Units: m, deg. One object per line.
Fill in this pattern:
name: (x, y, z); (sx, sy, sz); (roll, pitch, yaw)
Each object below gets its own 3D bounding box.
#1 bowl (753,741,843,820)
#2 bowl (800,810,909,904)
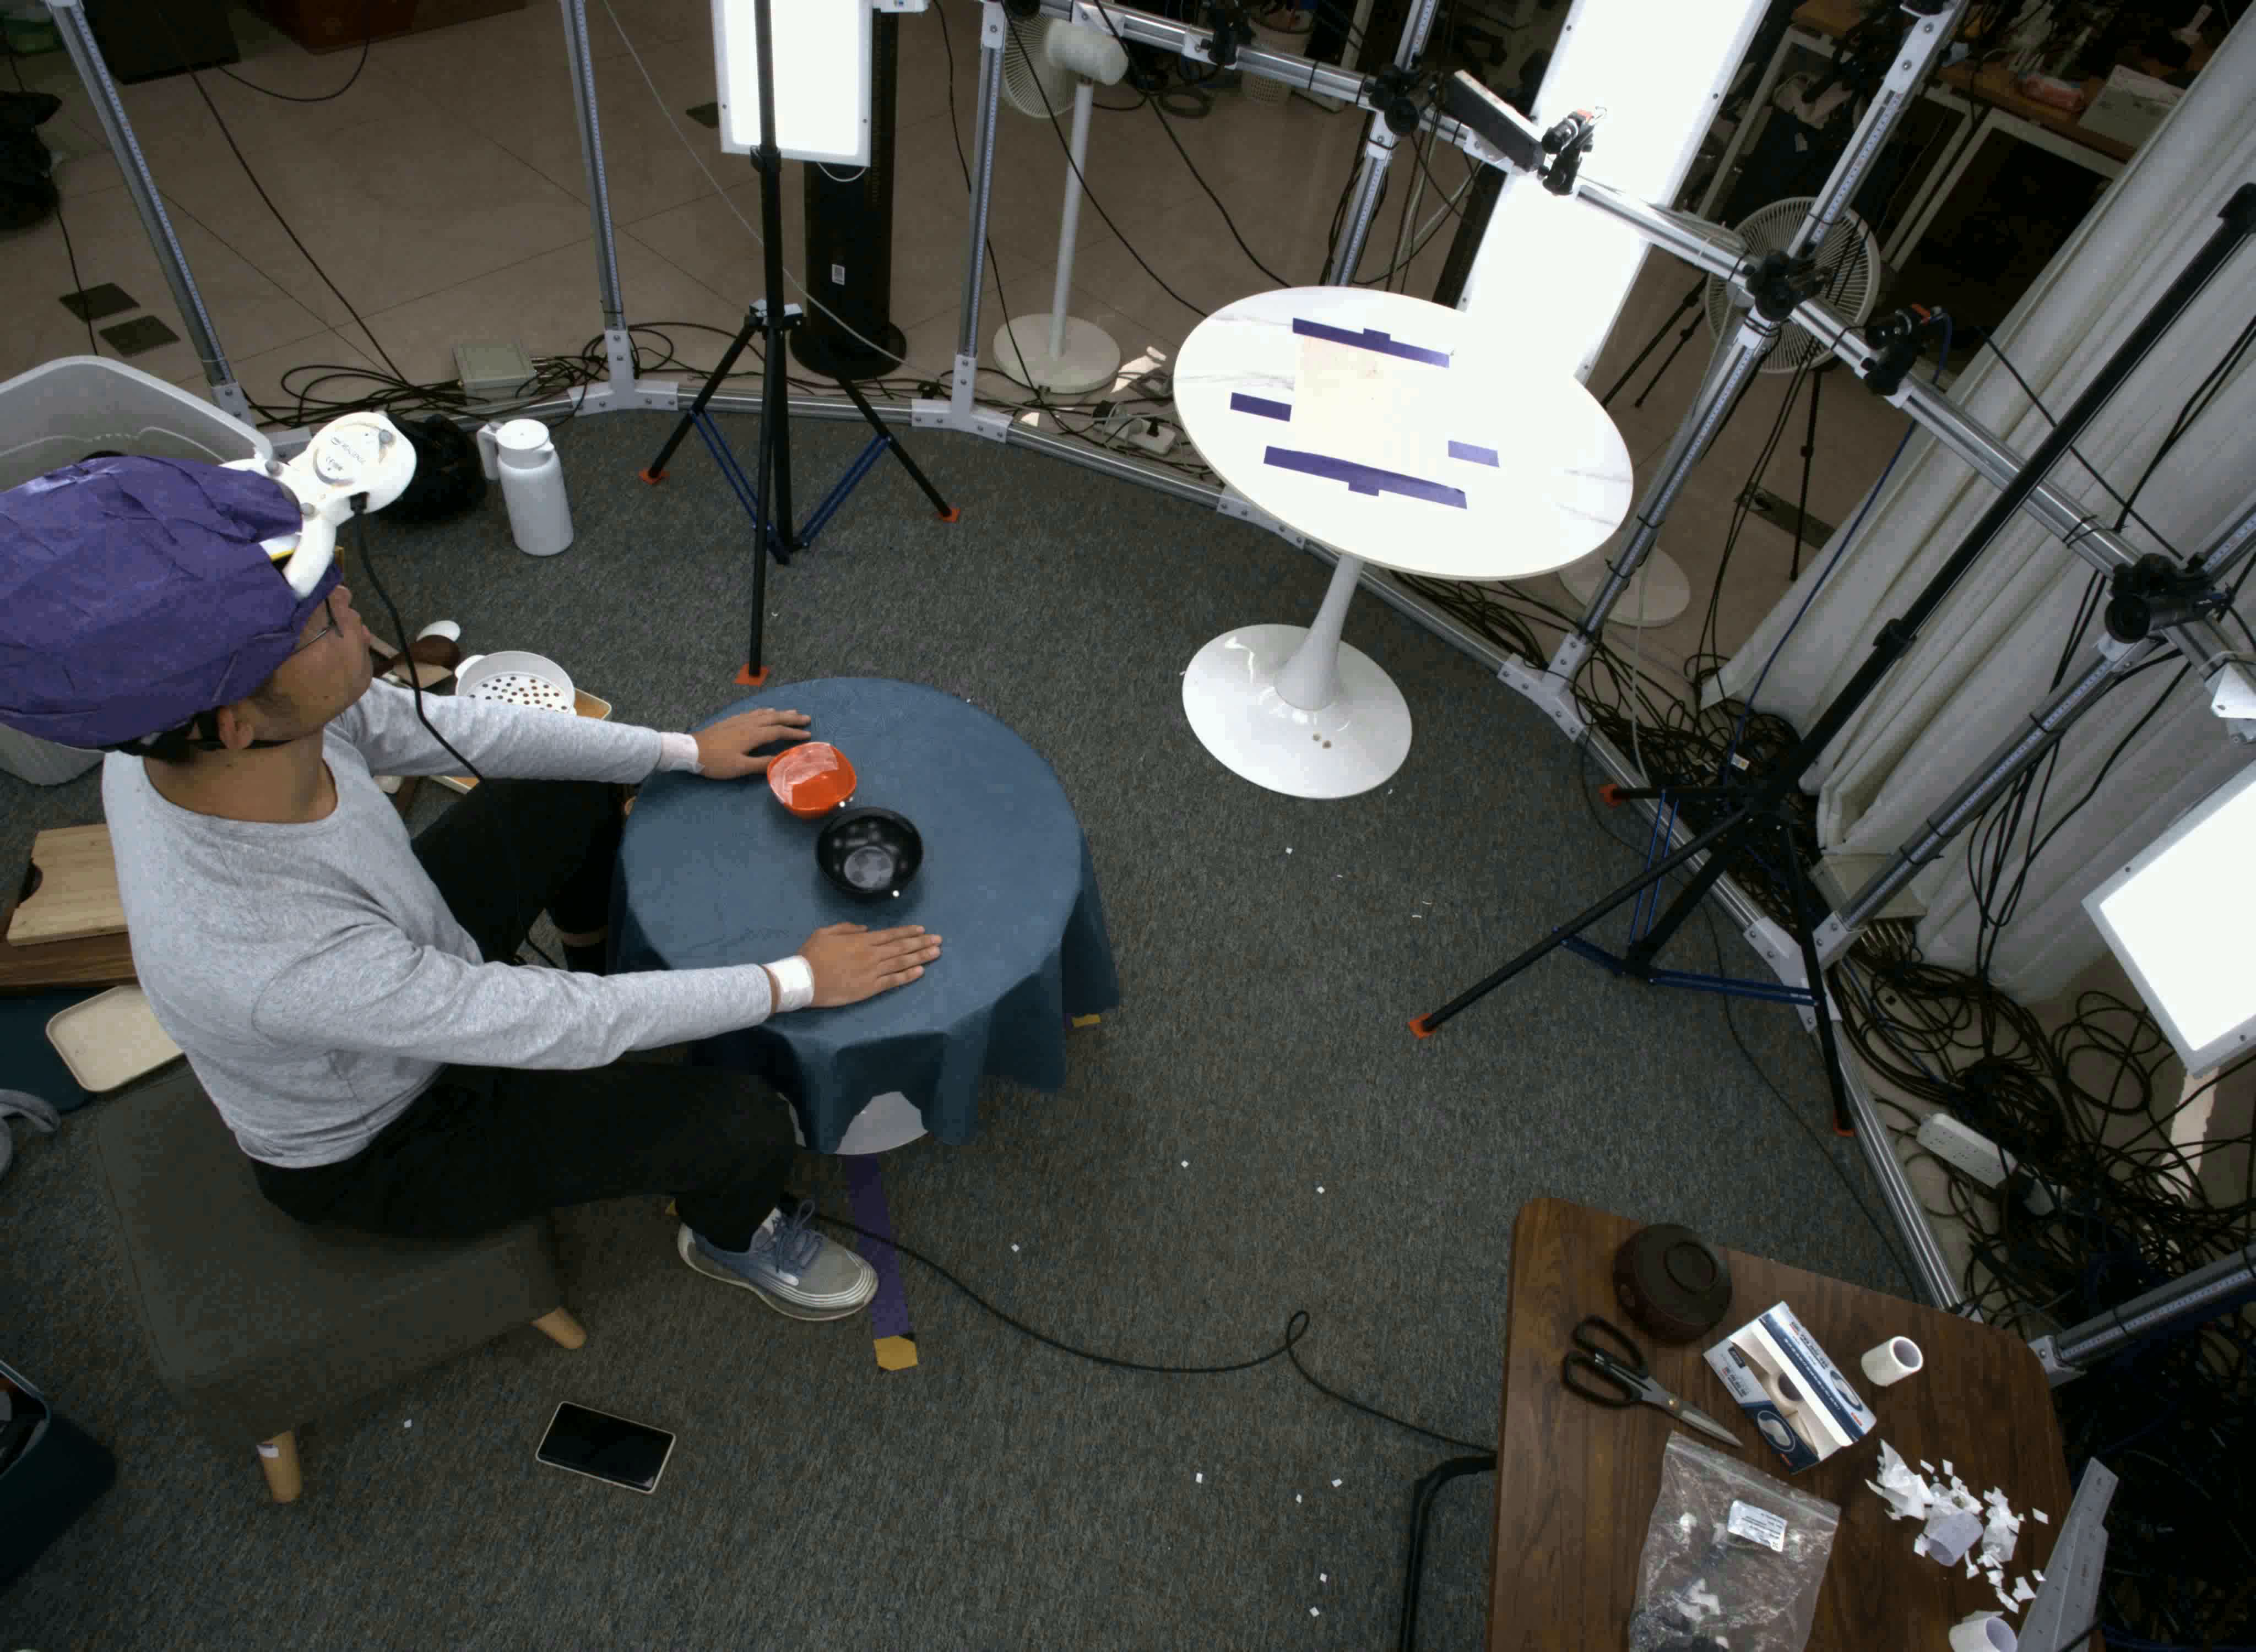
bowl: (-0.442, -0.054, 1.735); (0.119, 0.052, 0.117); (10, 51, -11)
bowl: (-0.354, 0.047, 1.690); (0.139, 0.051, 0.137); (5, 54, -5)
